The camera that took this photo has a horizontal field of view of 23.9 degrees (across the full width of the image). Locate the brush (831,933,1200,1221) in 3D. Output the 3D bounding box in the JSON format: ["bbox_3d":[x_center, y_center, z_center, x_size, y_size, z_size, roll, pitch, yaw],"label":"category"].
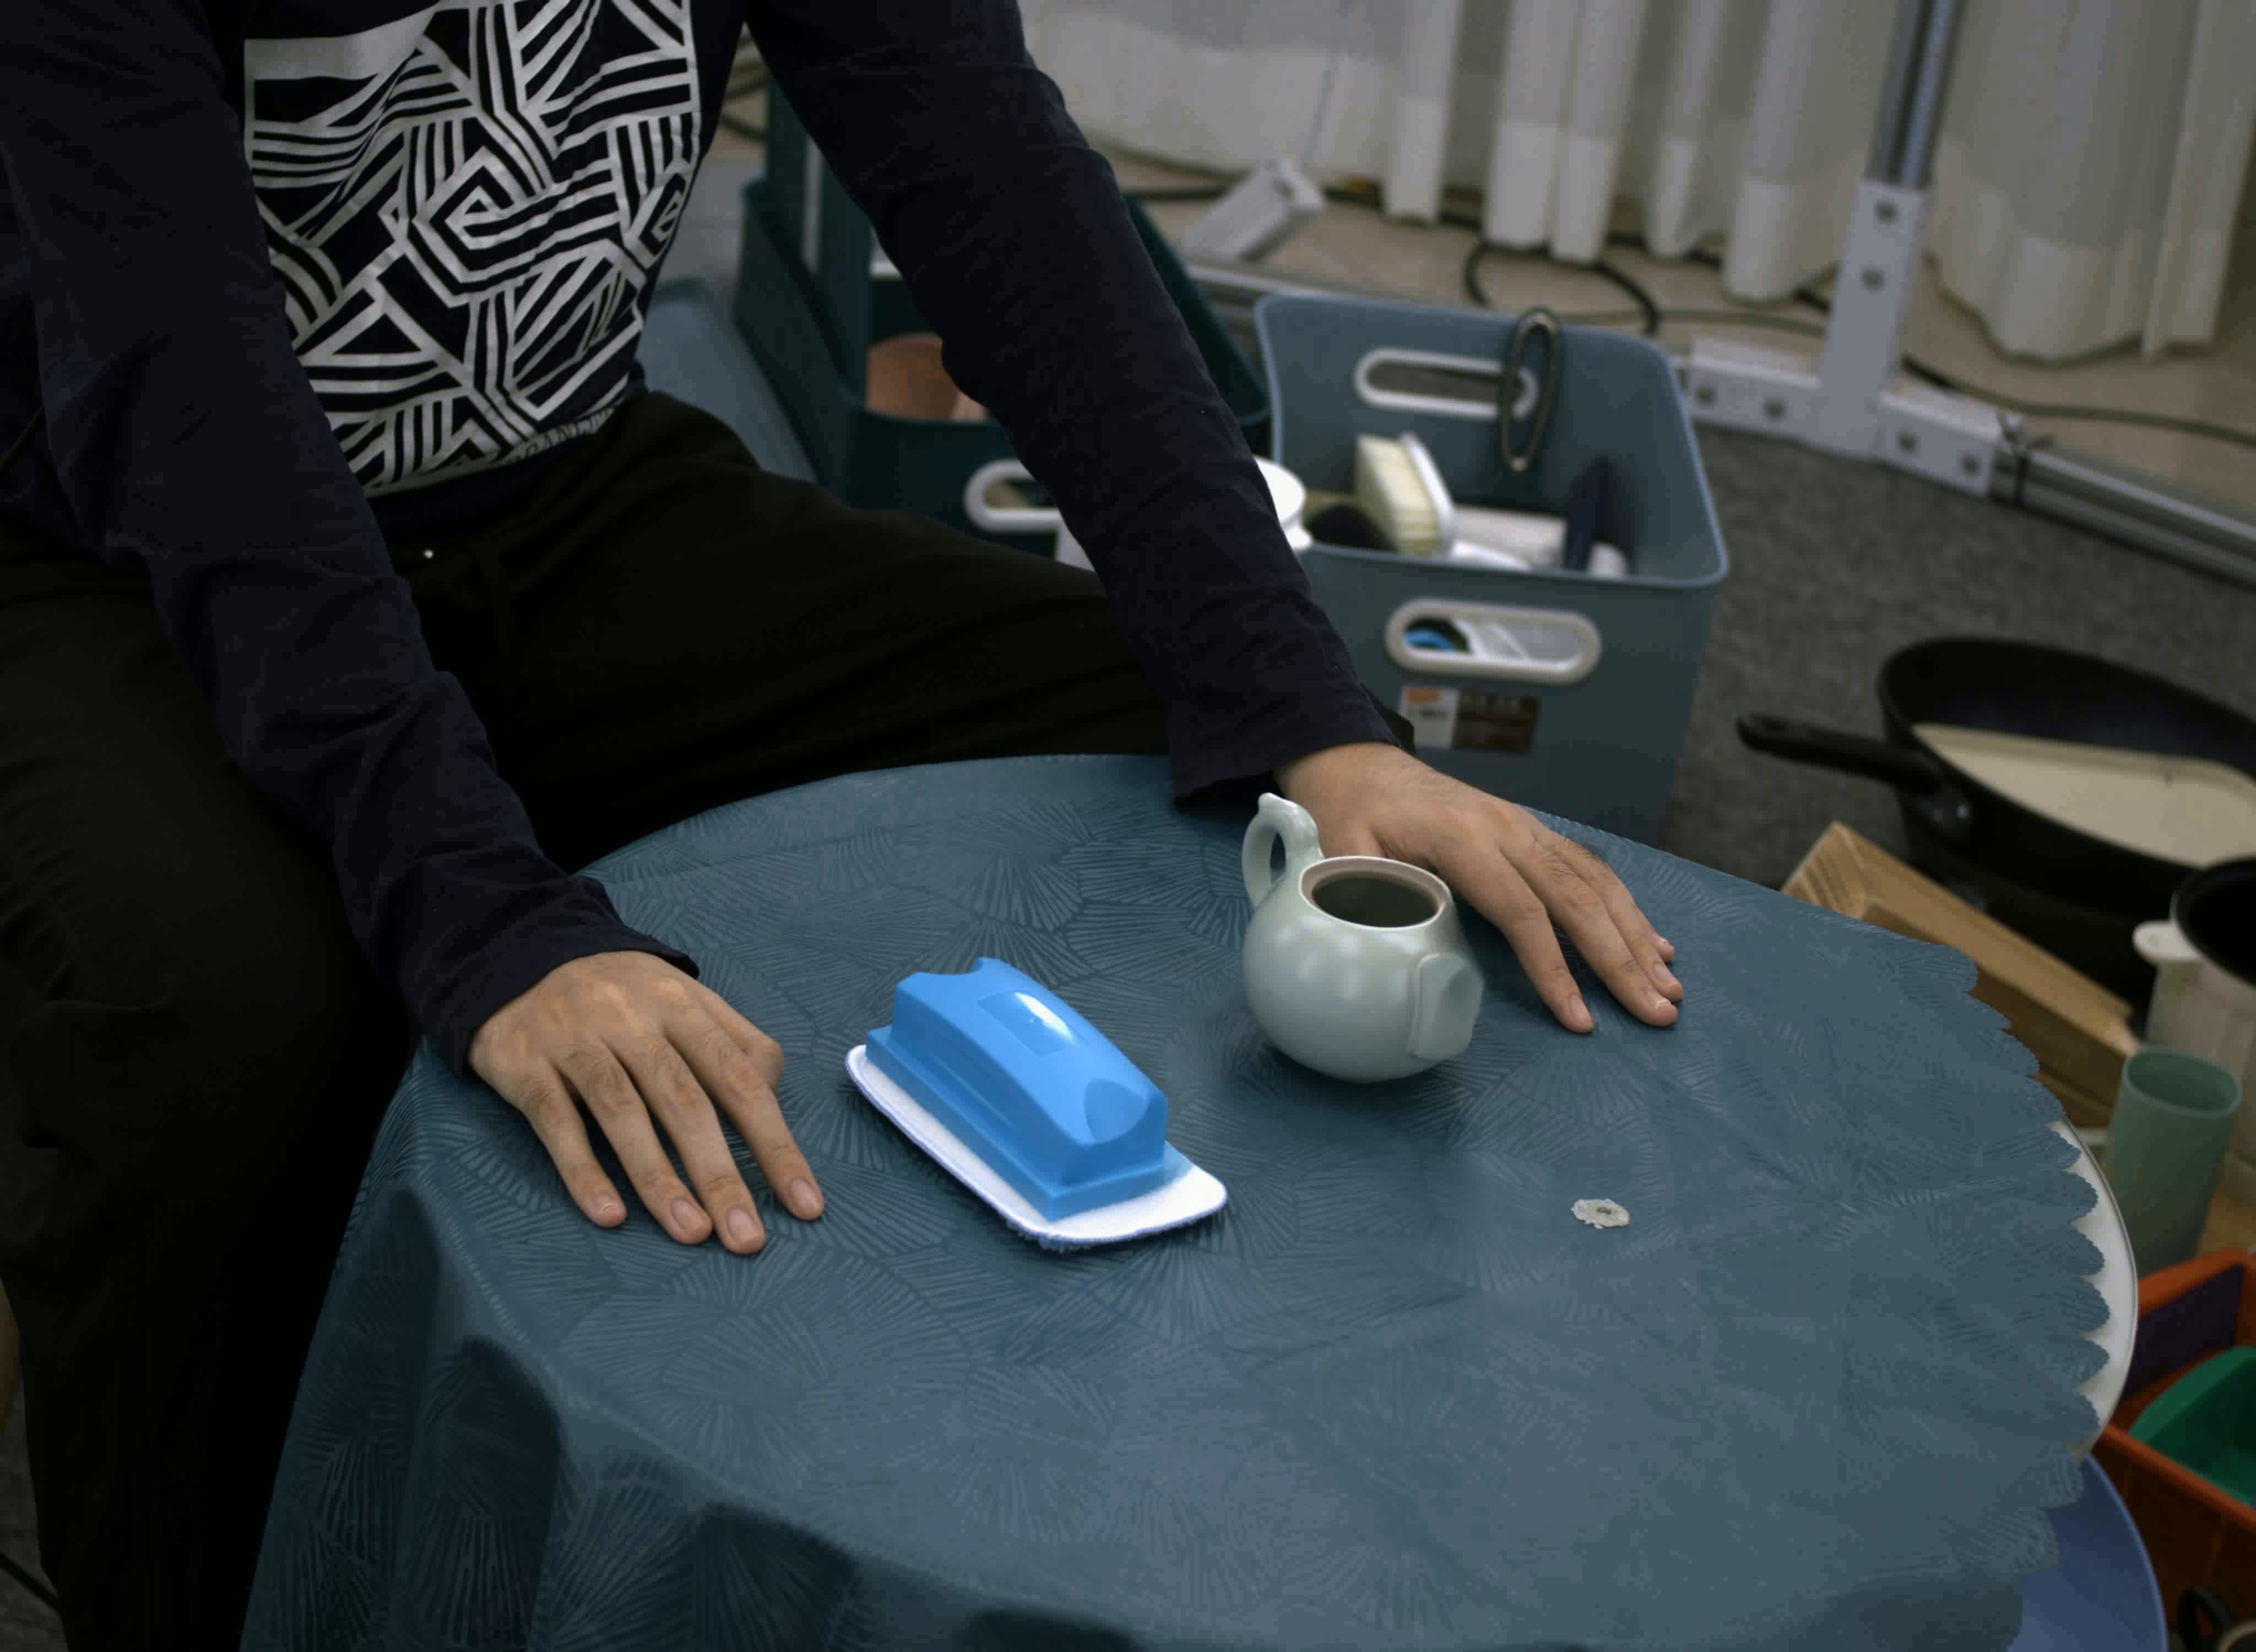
[{"bbox_3d":[-0.036,0.081,1.815,0.083,0.056,0.145,-7,32,-32],"label":"brush"}]

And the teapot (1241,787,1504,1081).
[{"bbox_3d":[0.084,0.049,1.892,0.088,0.074,0.145,-10,34,-30],"label":"teapot"}]
